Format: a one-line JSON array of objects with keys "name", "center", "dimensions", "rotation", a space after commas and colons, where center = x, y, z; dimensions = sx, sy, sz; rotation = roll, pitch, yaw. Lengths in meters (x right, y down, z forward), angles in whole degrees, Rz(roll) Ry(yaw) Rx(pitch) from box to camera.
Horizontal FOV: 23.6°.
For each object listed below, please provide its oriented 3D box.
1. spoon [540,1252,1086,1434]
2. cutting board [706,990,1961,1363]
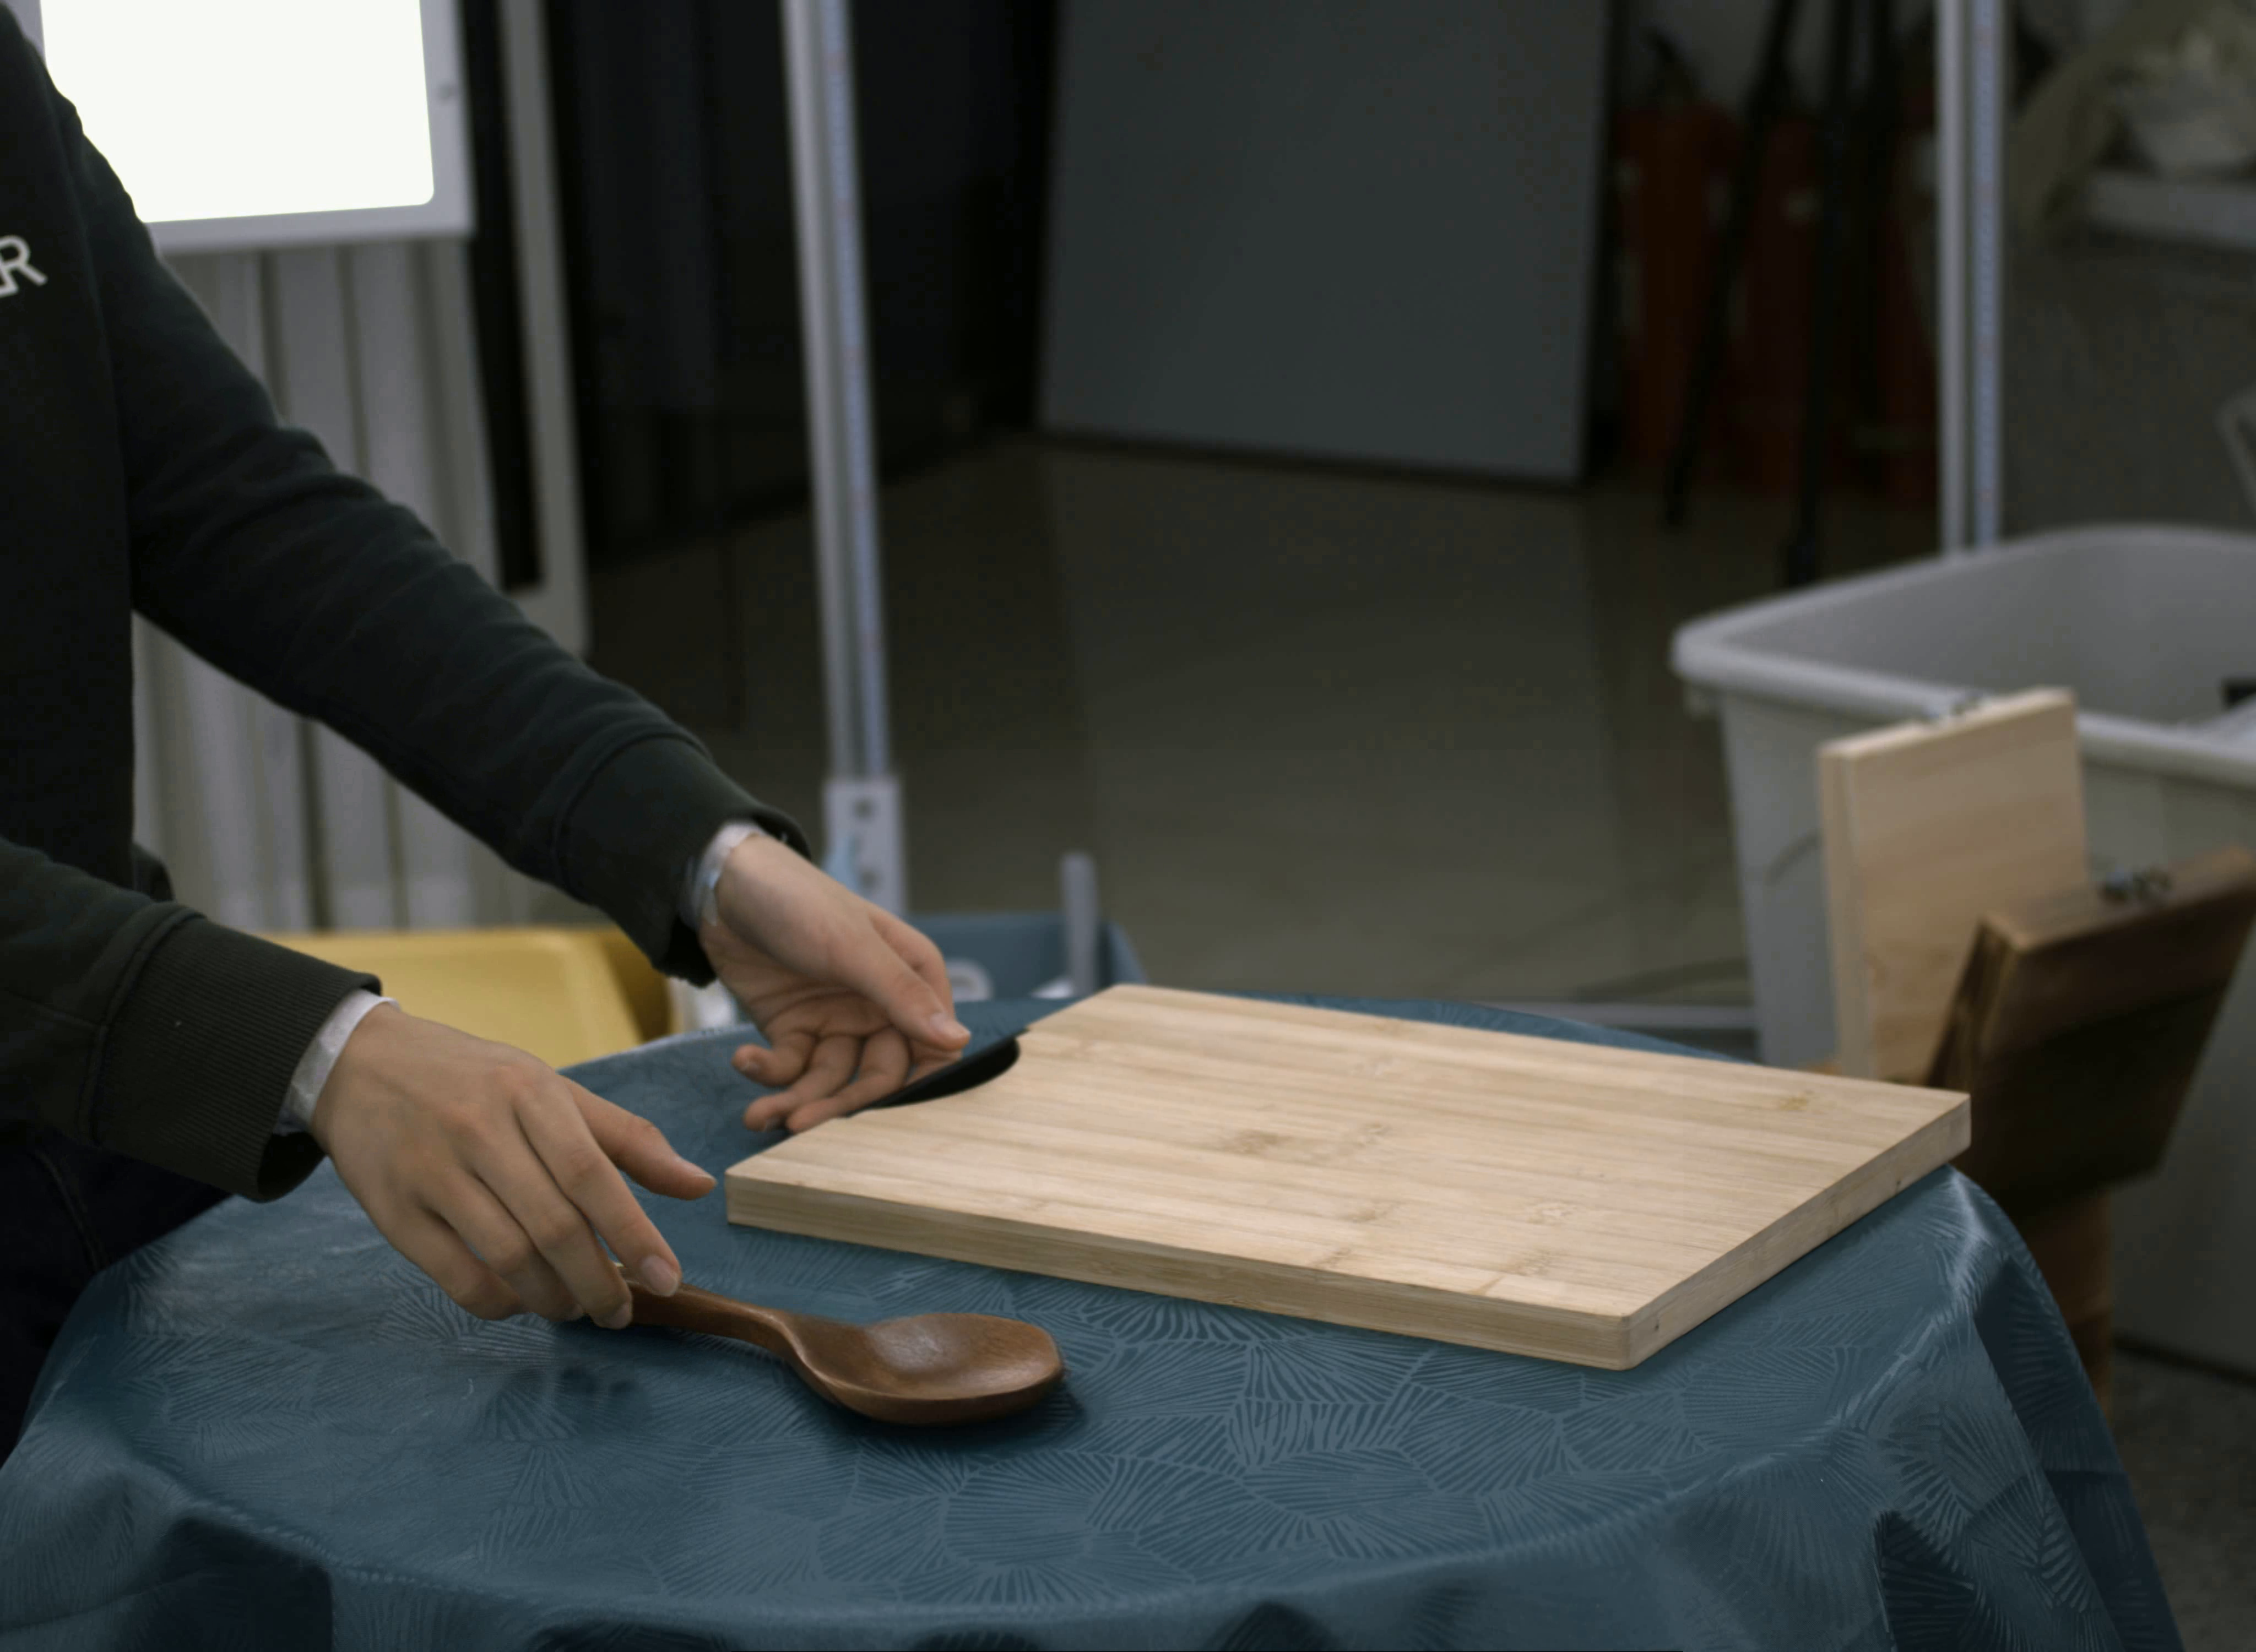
[{"name": "spoon", "center": [-0.100, 0.155, 1.628], "dimensions": [0.218, 0.017, 0.074], "rotation": [10, 21, 42]}, {"name": "cutting board", "center": [0.067, 0.110, 1.766], "dimensions": [0.350, 0.024, 0.246], "rotation": [5, 16, 34]}]
